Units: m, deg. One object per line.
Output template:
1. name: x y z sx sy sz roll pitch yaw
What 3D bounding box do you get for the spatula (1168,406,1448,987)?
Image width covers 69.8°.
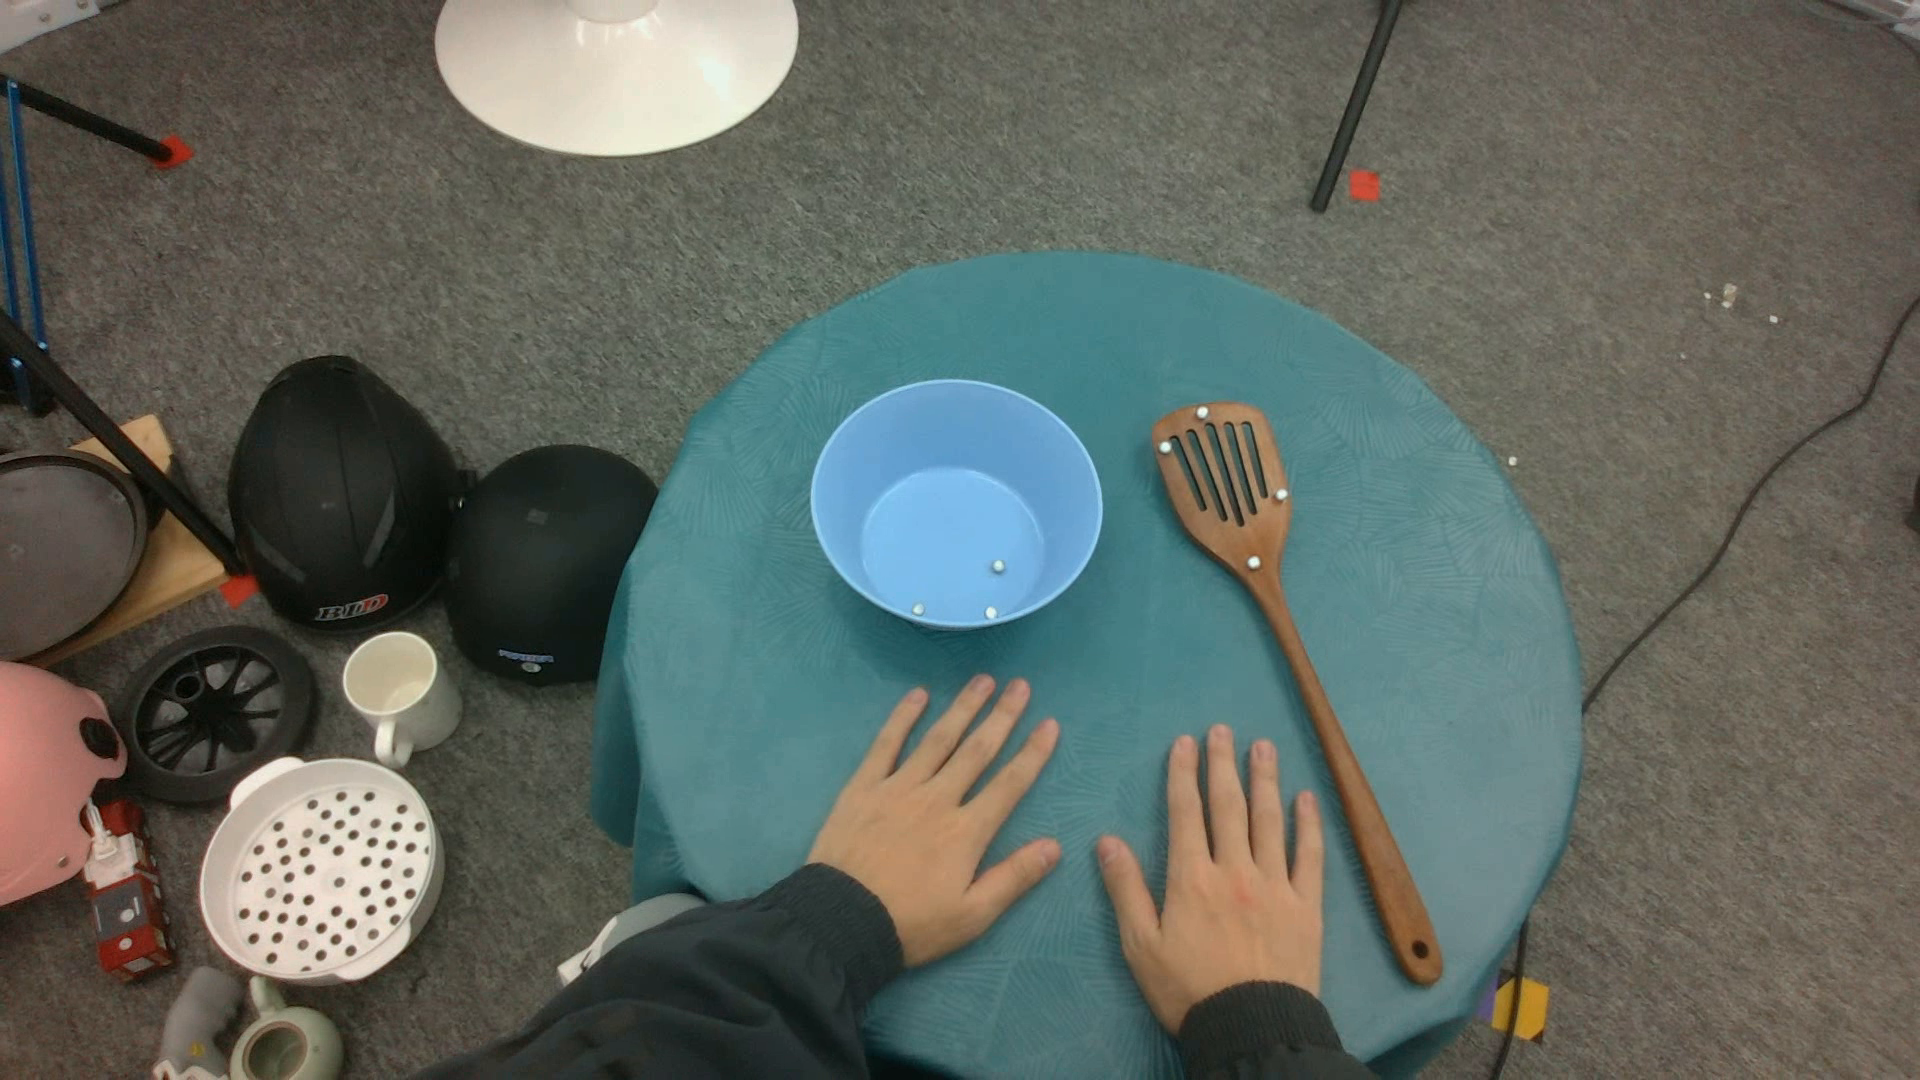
1. spatula: 0.219 0.081 0.852 0.085 0.024 0.388 -10 62 -8

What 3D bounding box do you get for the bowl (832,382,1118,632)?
1. bowl: 0.008 -0.009 0.865 0.176 0.070 0.177 1 60 -2
